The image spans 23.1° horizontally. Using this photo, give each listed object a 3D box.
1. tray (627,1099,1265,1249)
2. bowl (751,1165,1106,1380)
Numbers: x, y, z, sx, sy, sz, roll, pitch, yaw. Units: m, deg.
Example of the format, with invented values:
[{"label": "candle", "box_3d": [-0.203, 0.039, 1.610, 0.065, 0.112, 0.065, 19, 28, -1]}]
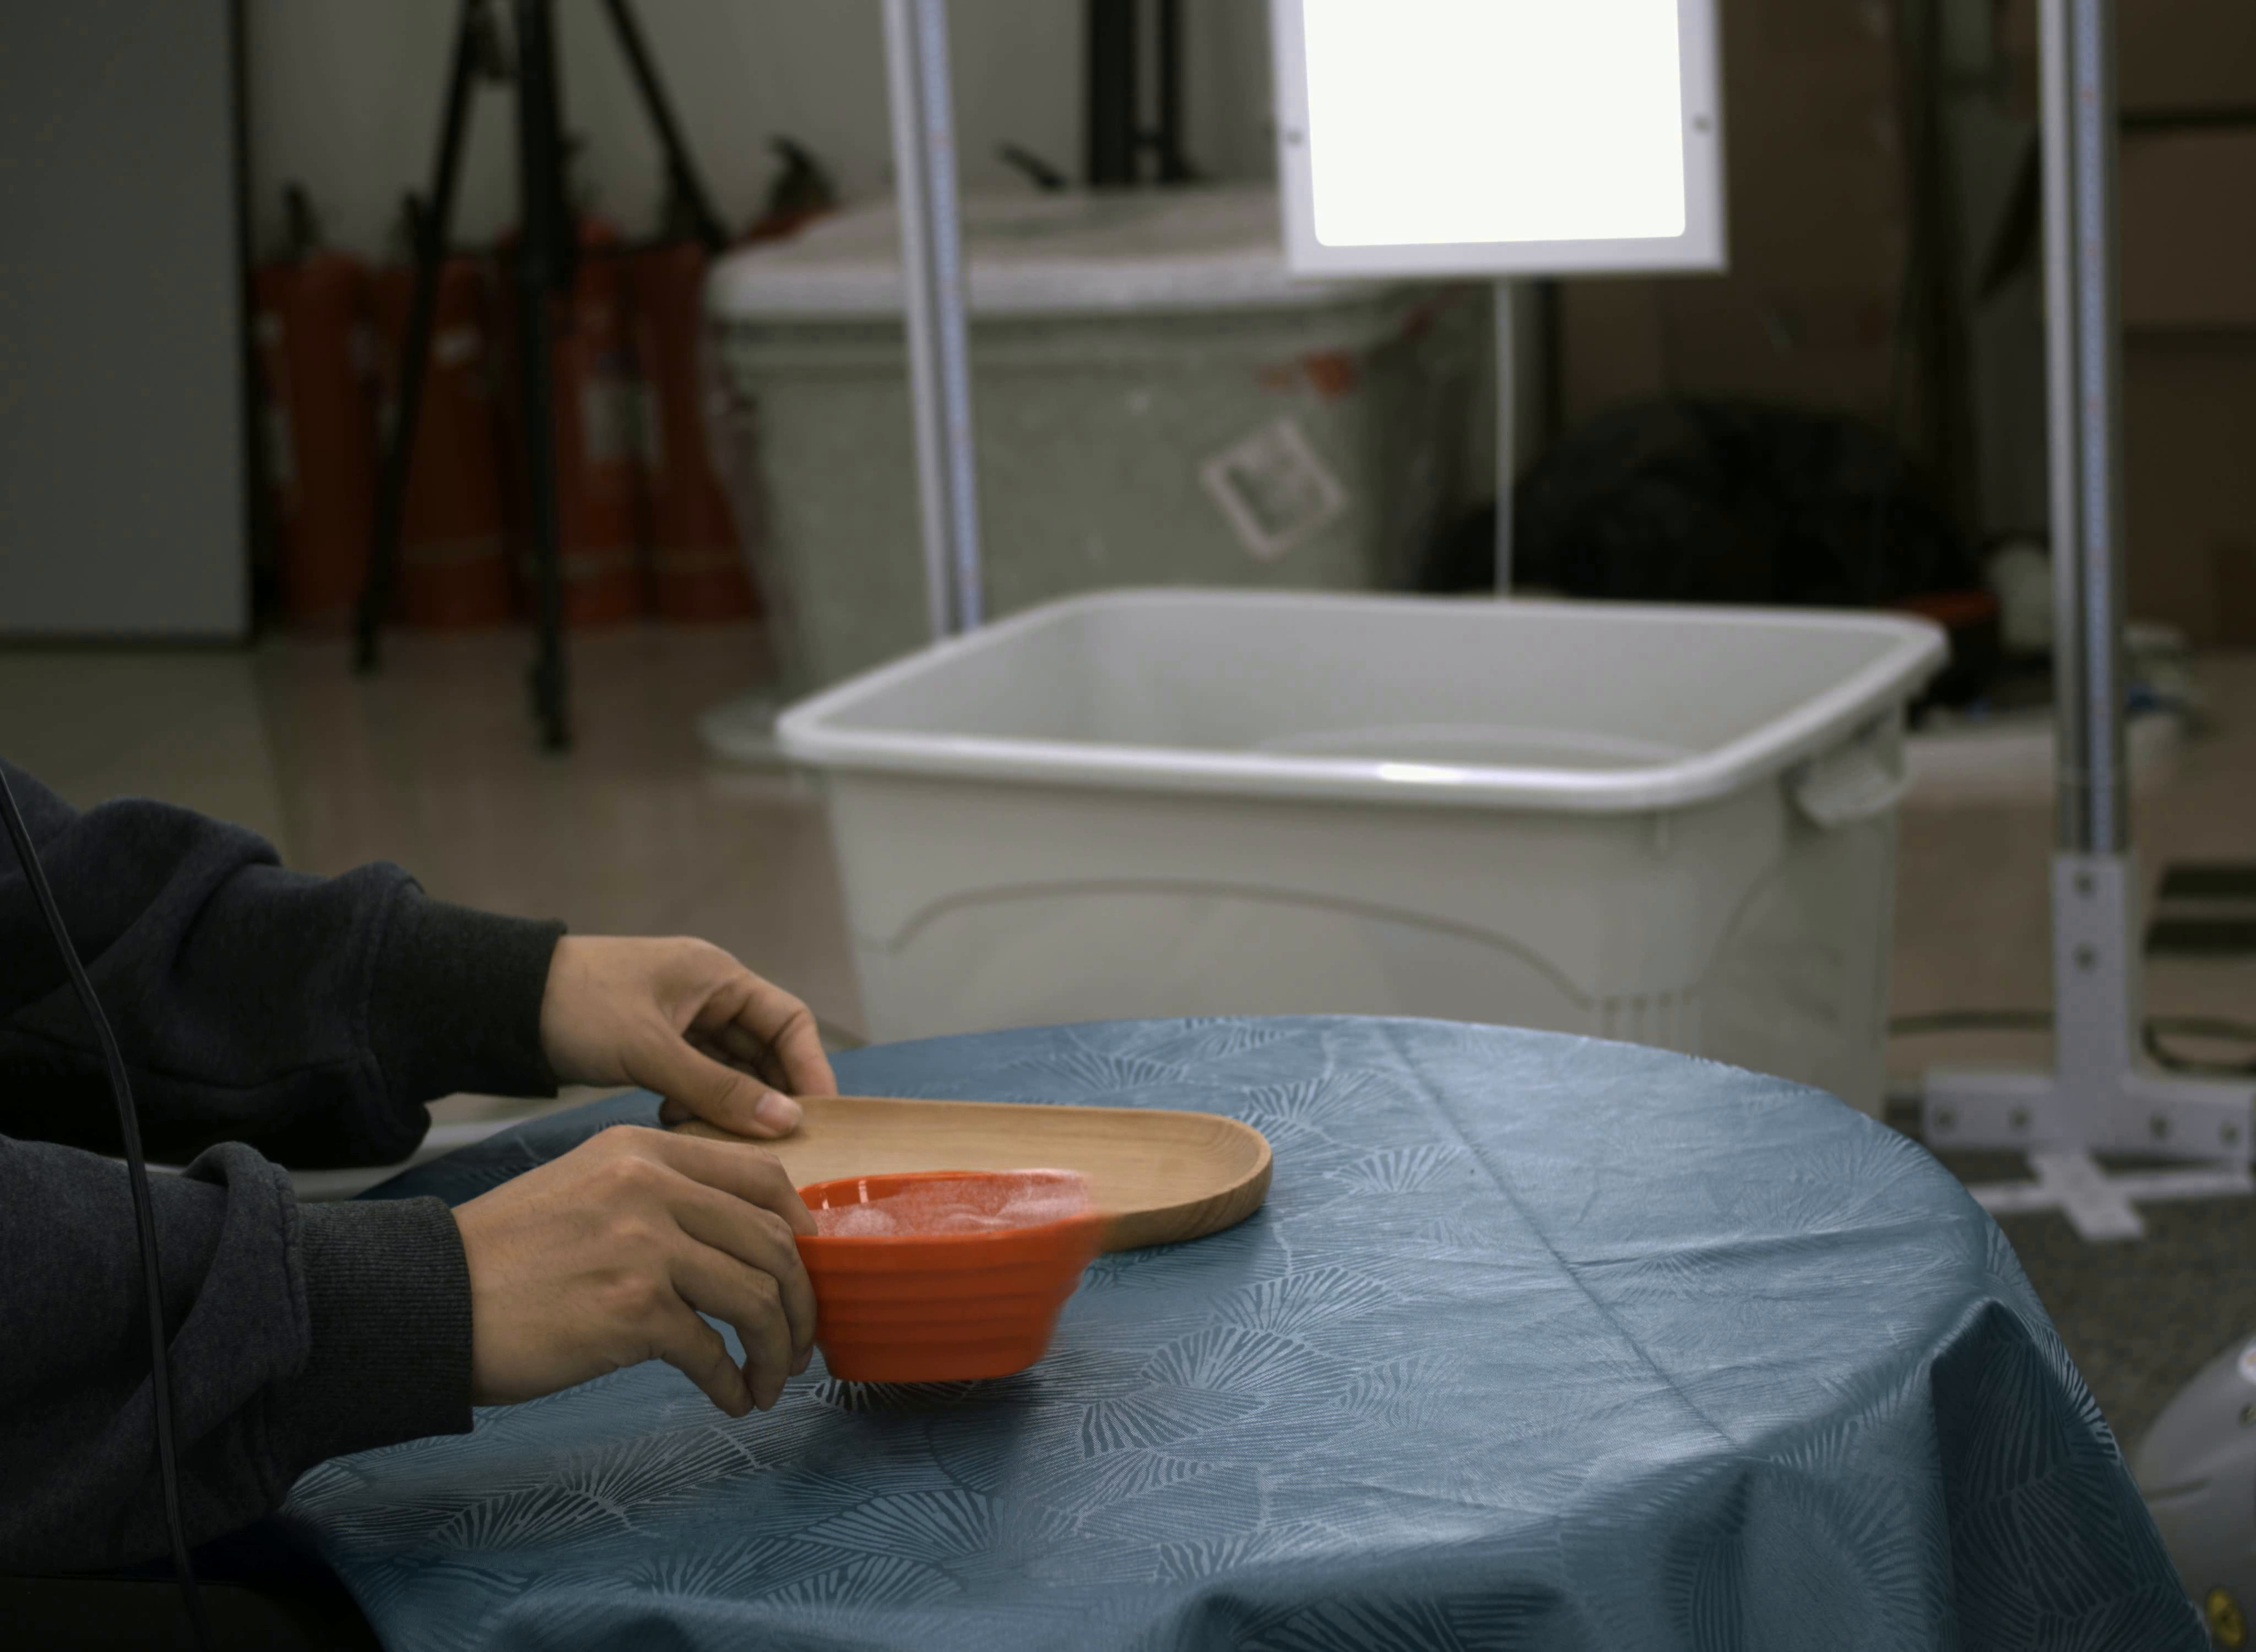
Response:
[{"label": "tray", "box_3d": [-0.064, 0.120, 1.907, 0.234, 0.020, 0.100, 0, 16, 23]}, {"label": "bowl", "box_3d": [-0.061, 0.140, 1.715, 0.118, 0.051, 0.119, -2, 8, -1]}]
